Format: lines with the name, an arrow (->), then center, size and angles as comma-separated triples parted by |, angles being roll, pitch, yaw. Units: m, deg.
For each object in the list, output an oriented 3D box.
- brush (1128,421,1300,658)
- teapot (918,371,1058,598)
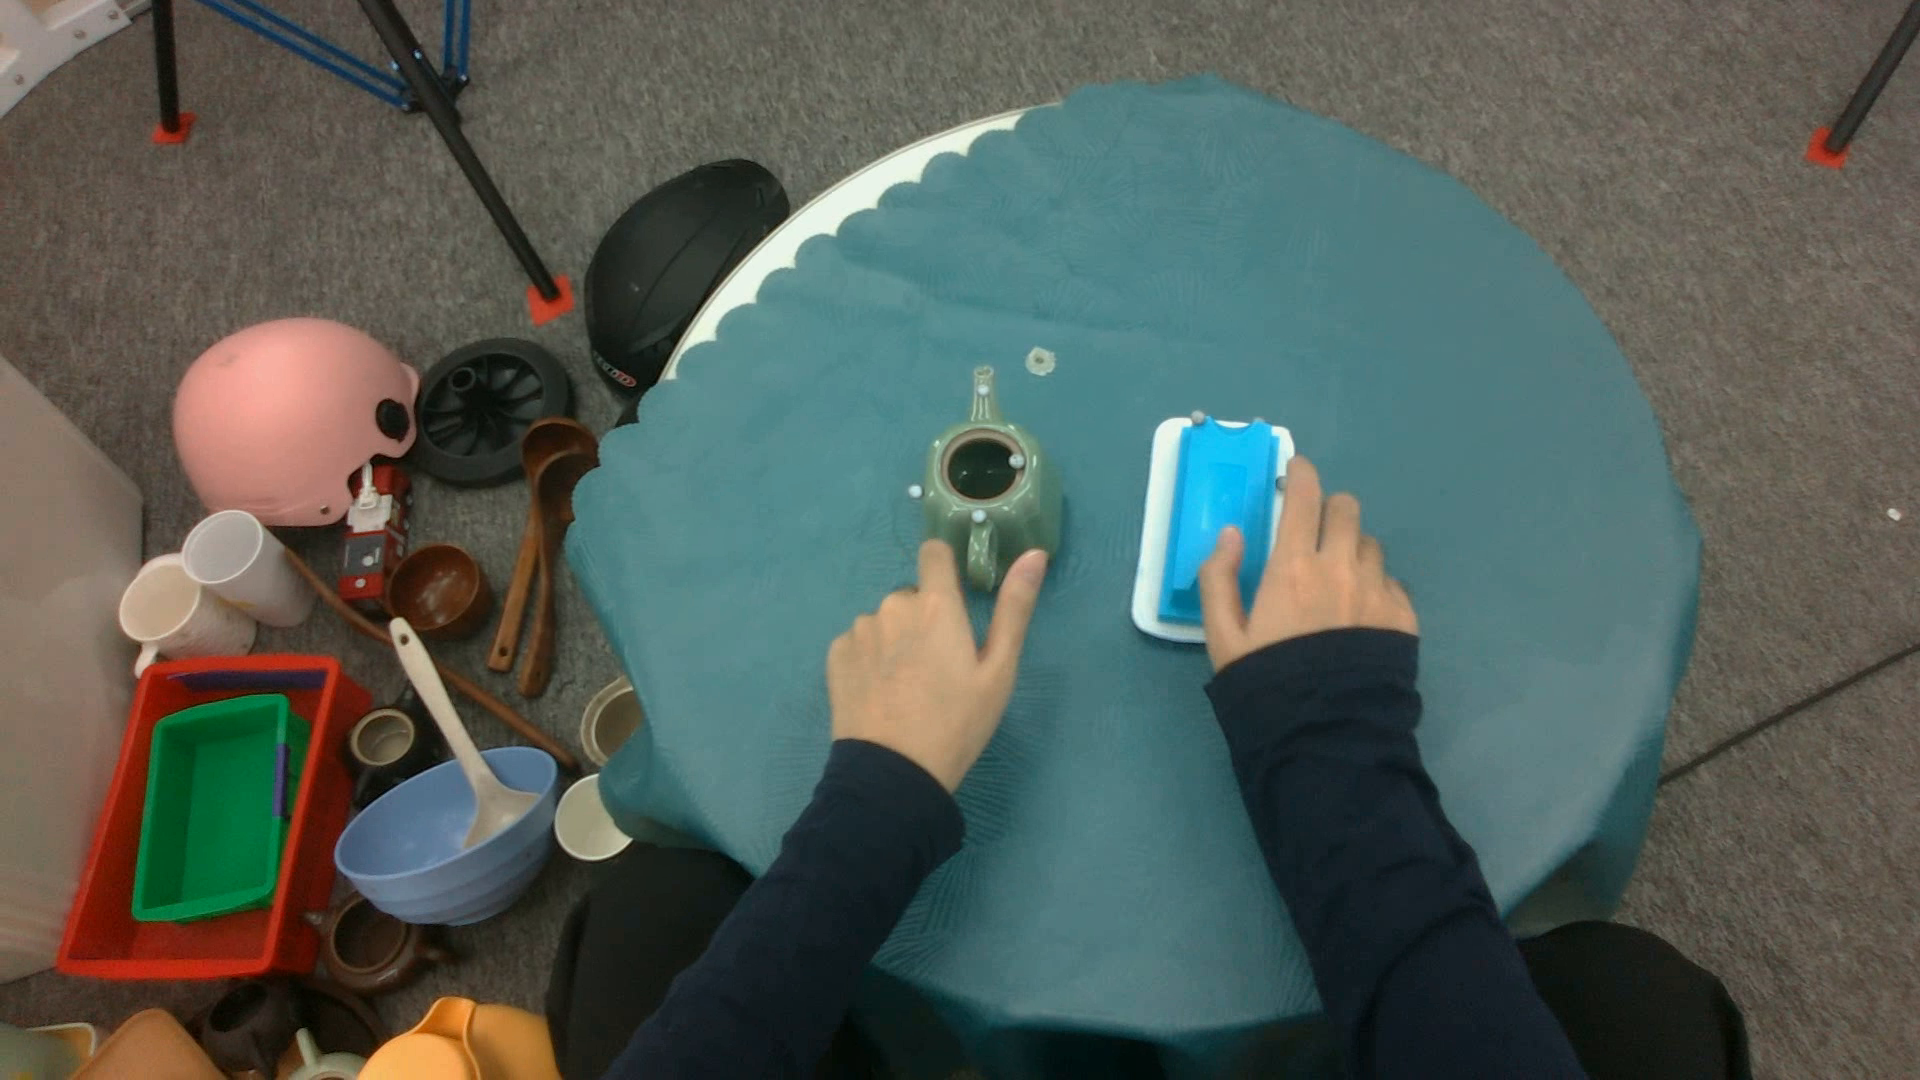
brush -> 0.140, -0.008, 0.753 | 0.084, 0.056, 0.144 | 6, 60, 14
teapot -> 0.014, -0.022, 0.770 | 0.079, 0.075, 0.133 | 0, 64, 7
